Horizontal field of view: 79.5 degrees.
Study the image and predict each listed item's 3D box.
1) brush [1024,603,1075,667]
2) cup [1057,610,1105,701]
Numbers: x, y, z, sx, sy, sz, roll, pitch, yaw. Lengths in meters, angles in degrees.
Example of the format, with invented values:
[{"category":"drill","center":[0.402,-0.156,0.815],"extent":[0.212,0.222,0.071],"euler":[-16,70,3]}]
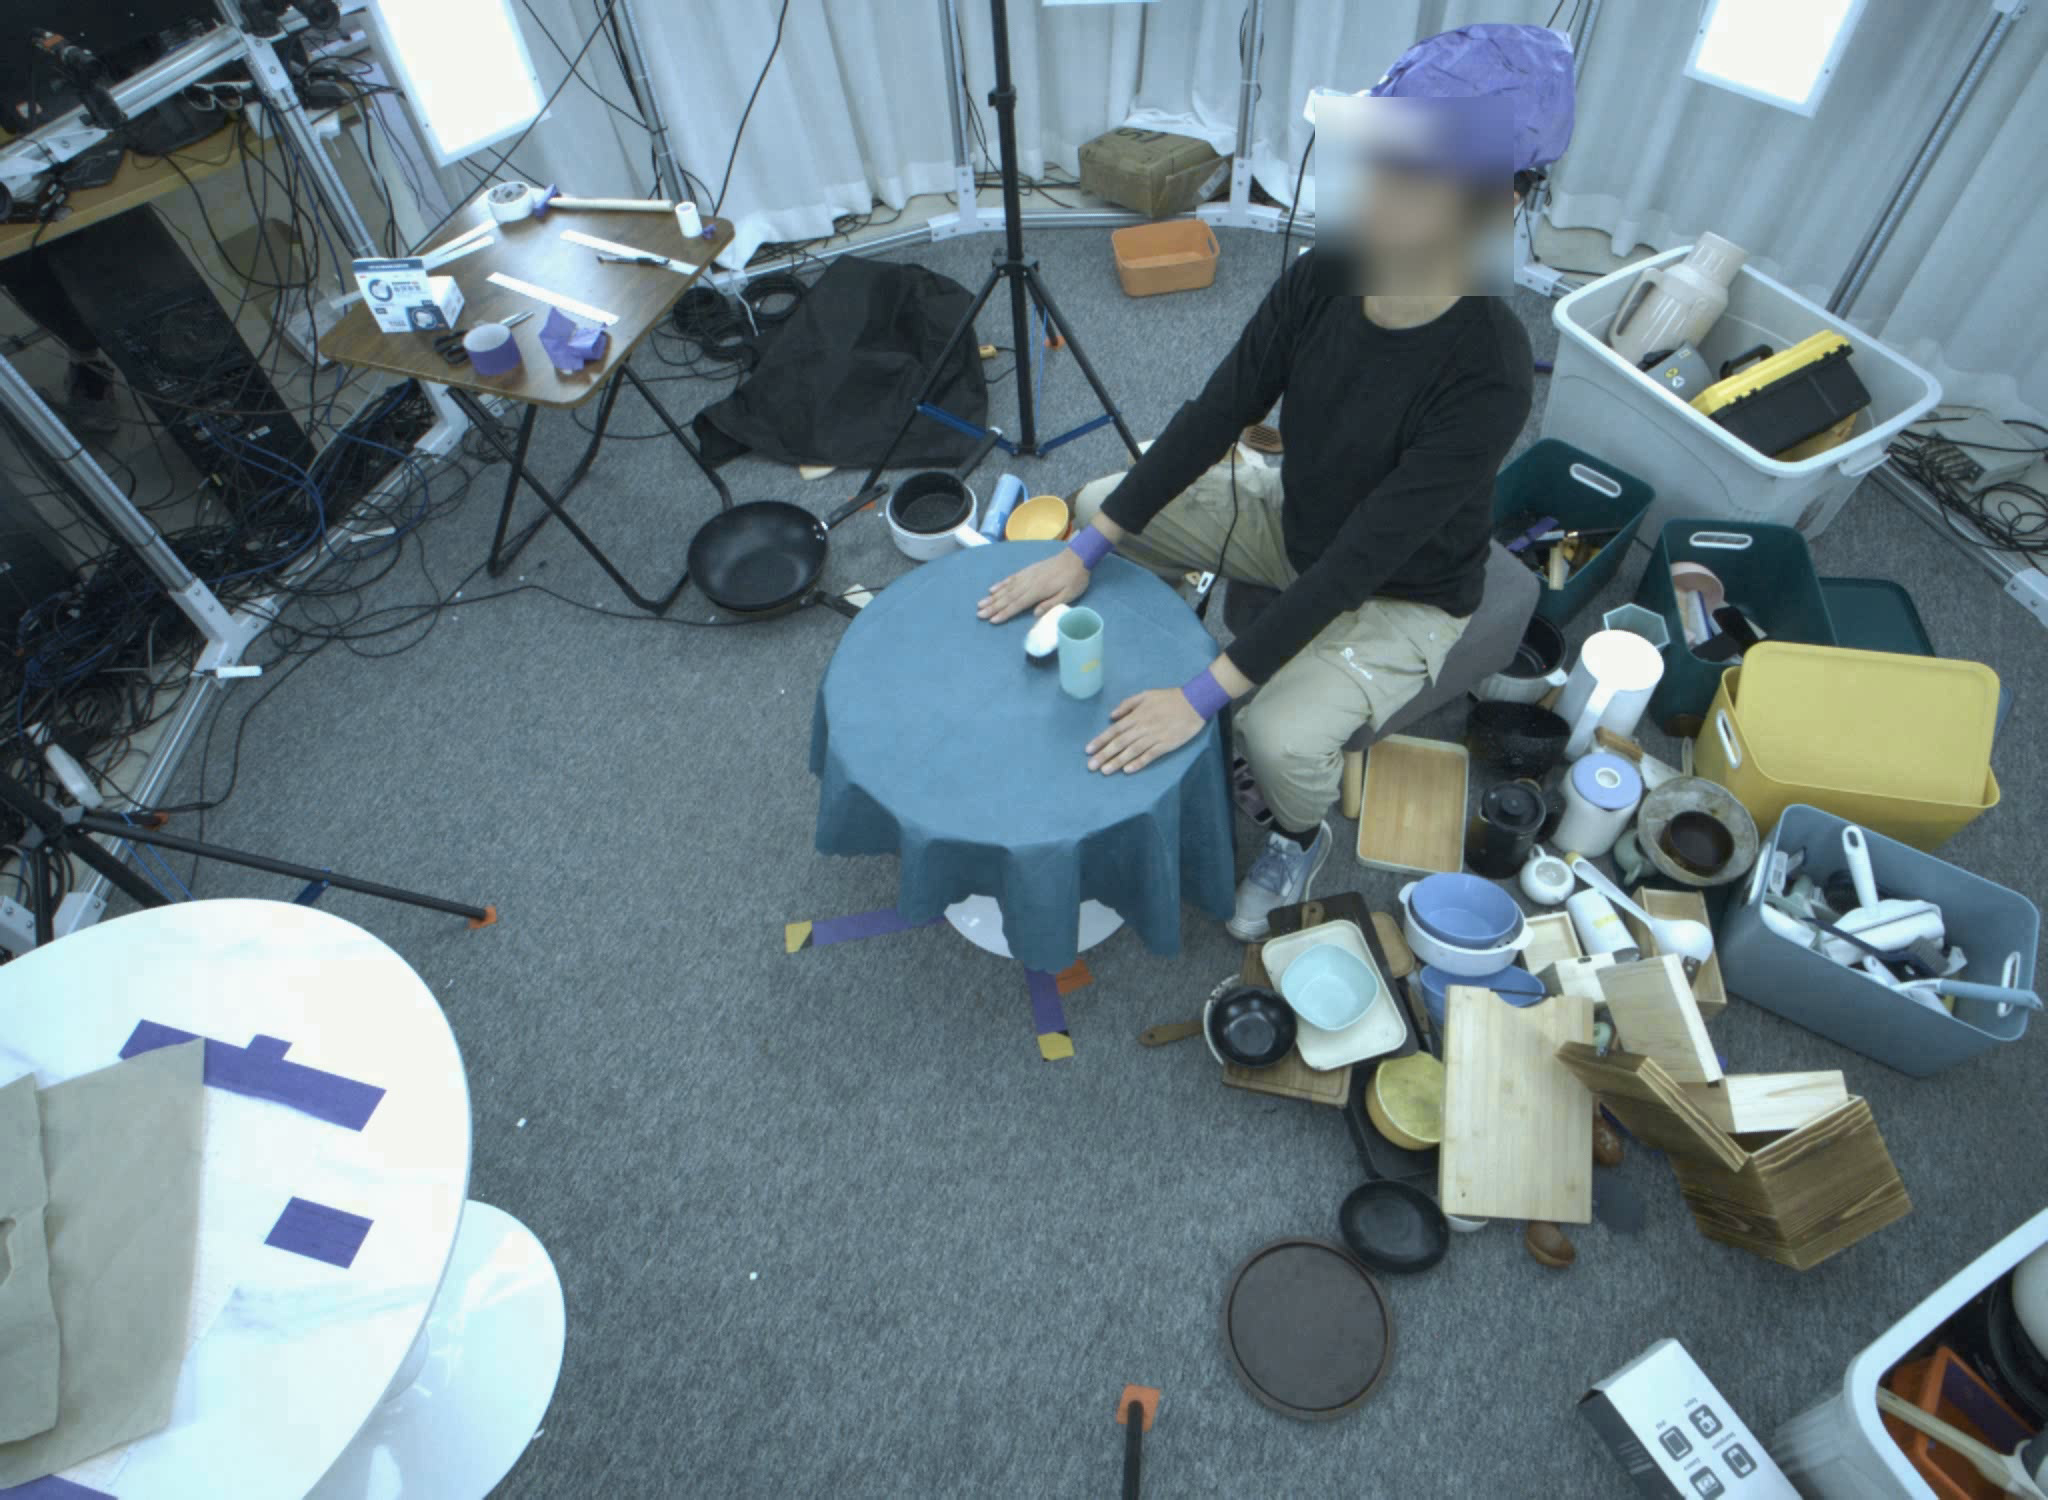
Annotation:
[{"category":"brush","center":[0.040,-0.183,1.872],"extent":[0.049,0.073,0.100],"euler":[37,65,24]},{"category":"cup","center":[0.084,-0.139,1.810],"extent":[0.066,0.134,0.066],"euler":[-2,55,4]}]
